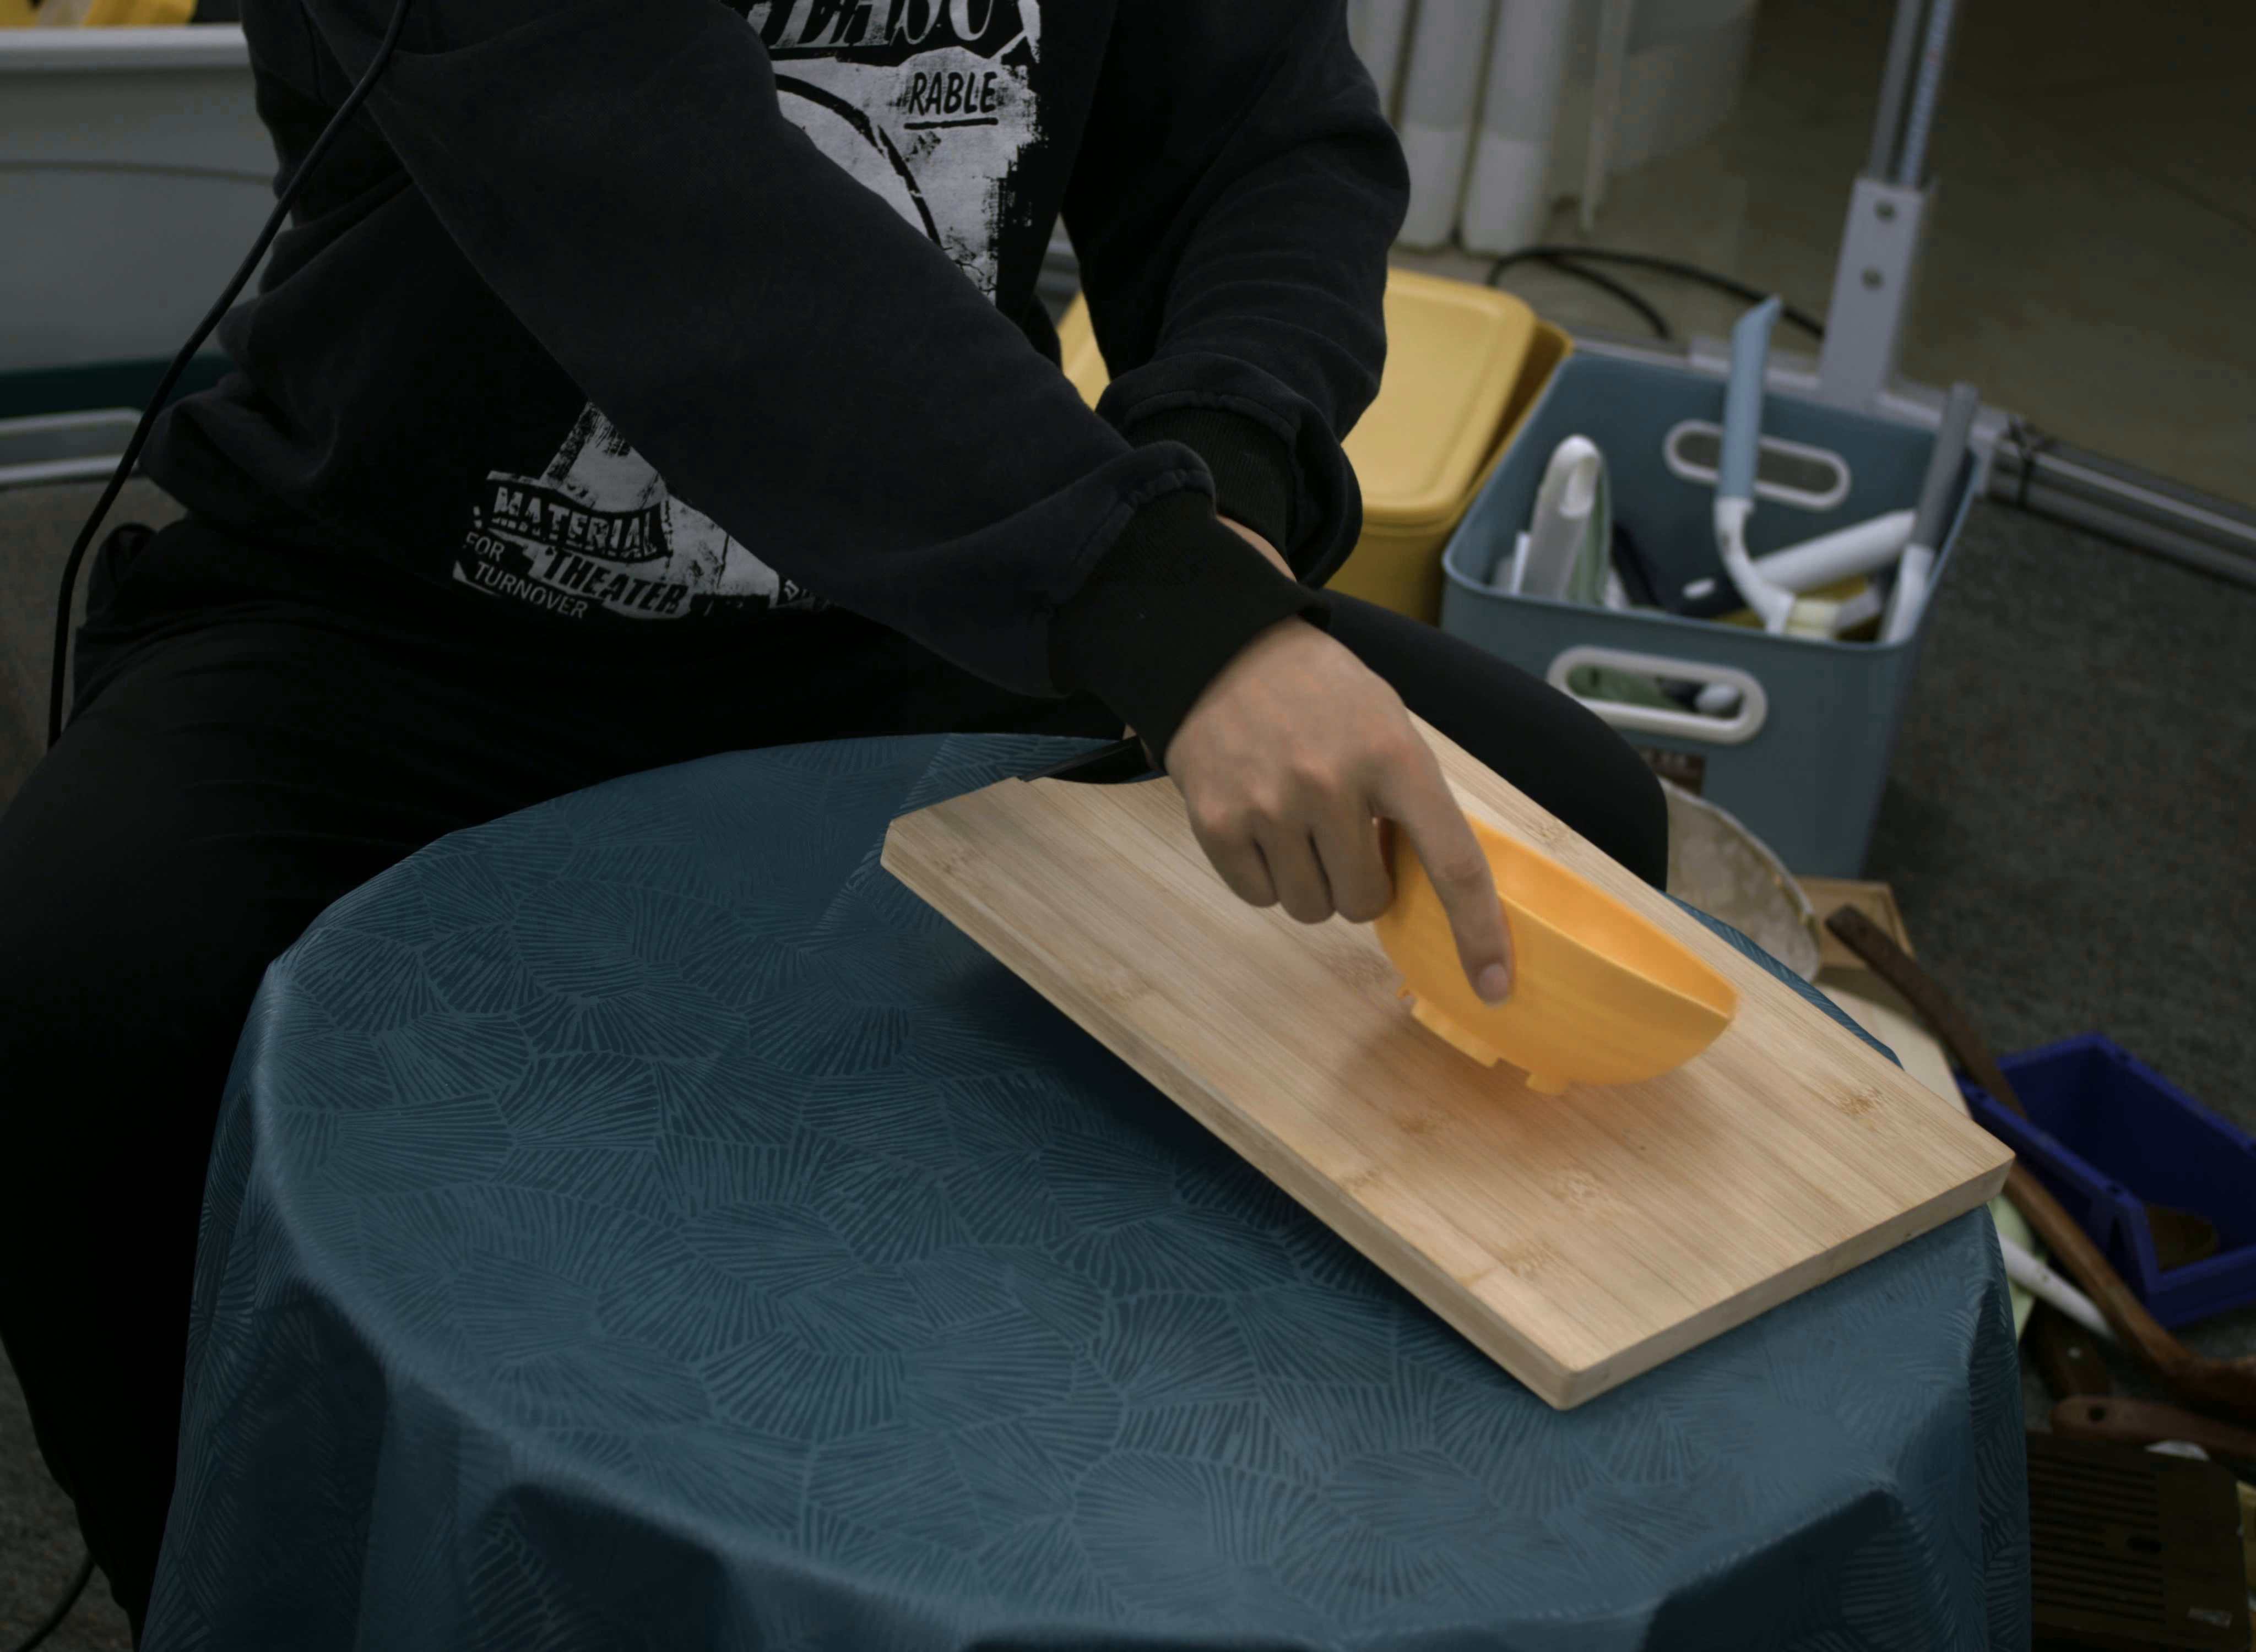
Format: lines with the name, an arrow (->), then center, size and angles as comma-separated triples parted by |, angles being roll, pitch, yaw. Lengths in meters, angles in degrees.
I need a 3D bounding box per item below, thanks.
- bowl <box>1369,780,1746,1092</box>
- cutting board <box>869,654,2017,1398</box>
bowl -> 0.133, 0.047, 1.799 | 0.145, 0.060, 0.145 | 32, 7, -5
cutting board -> 0.108, 0.061, 1.872 | 0.249, 0.023, 0.351 | -20, 46, -42
